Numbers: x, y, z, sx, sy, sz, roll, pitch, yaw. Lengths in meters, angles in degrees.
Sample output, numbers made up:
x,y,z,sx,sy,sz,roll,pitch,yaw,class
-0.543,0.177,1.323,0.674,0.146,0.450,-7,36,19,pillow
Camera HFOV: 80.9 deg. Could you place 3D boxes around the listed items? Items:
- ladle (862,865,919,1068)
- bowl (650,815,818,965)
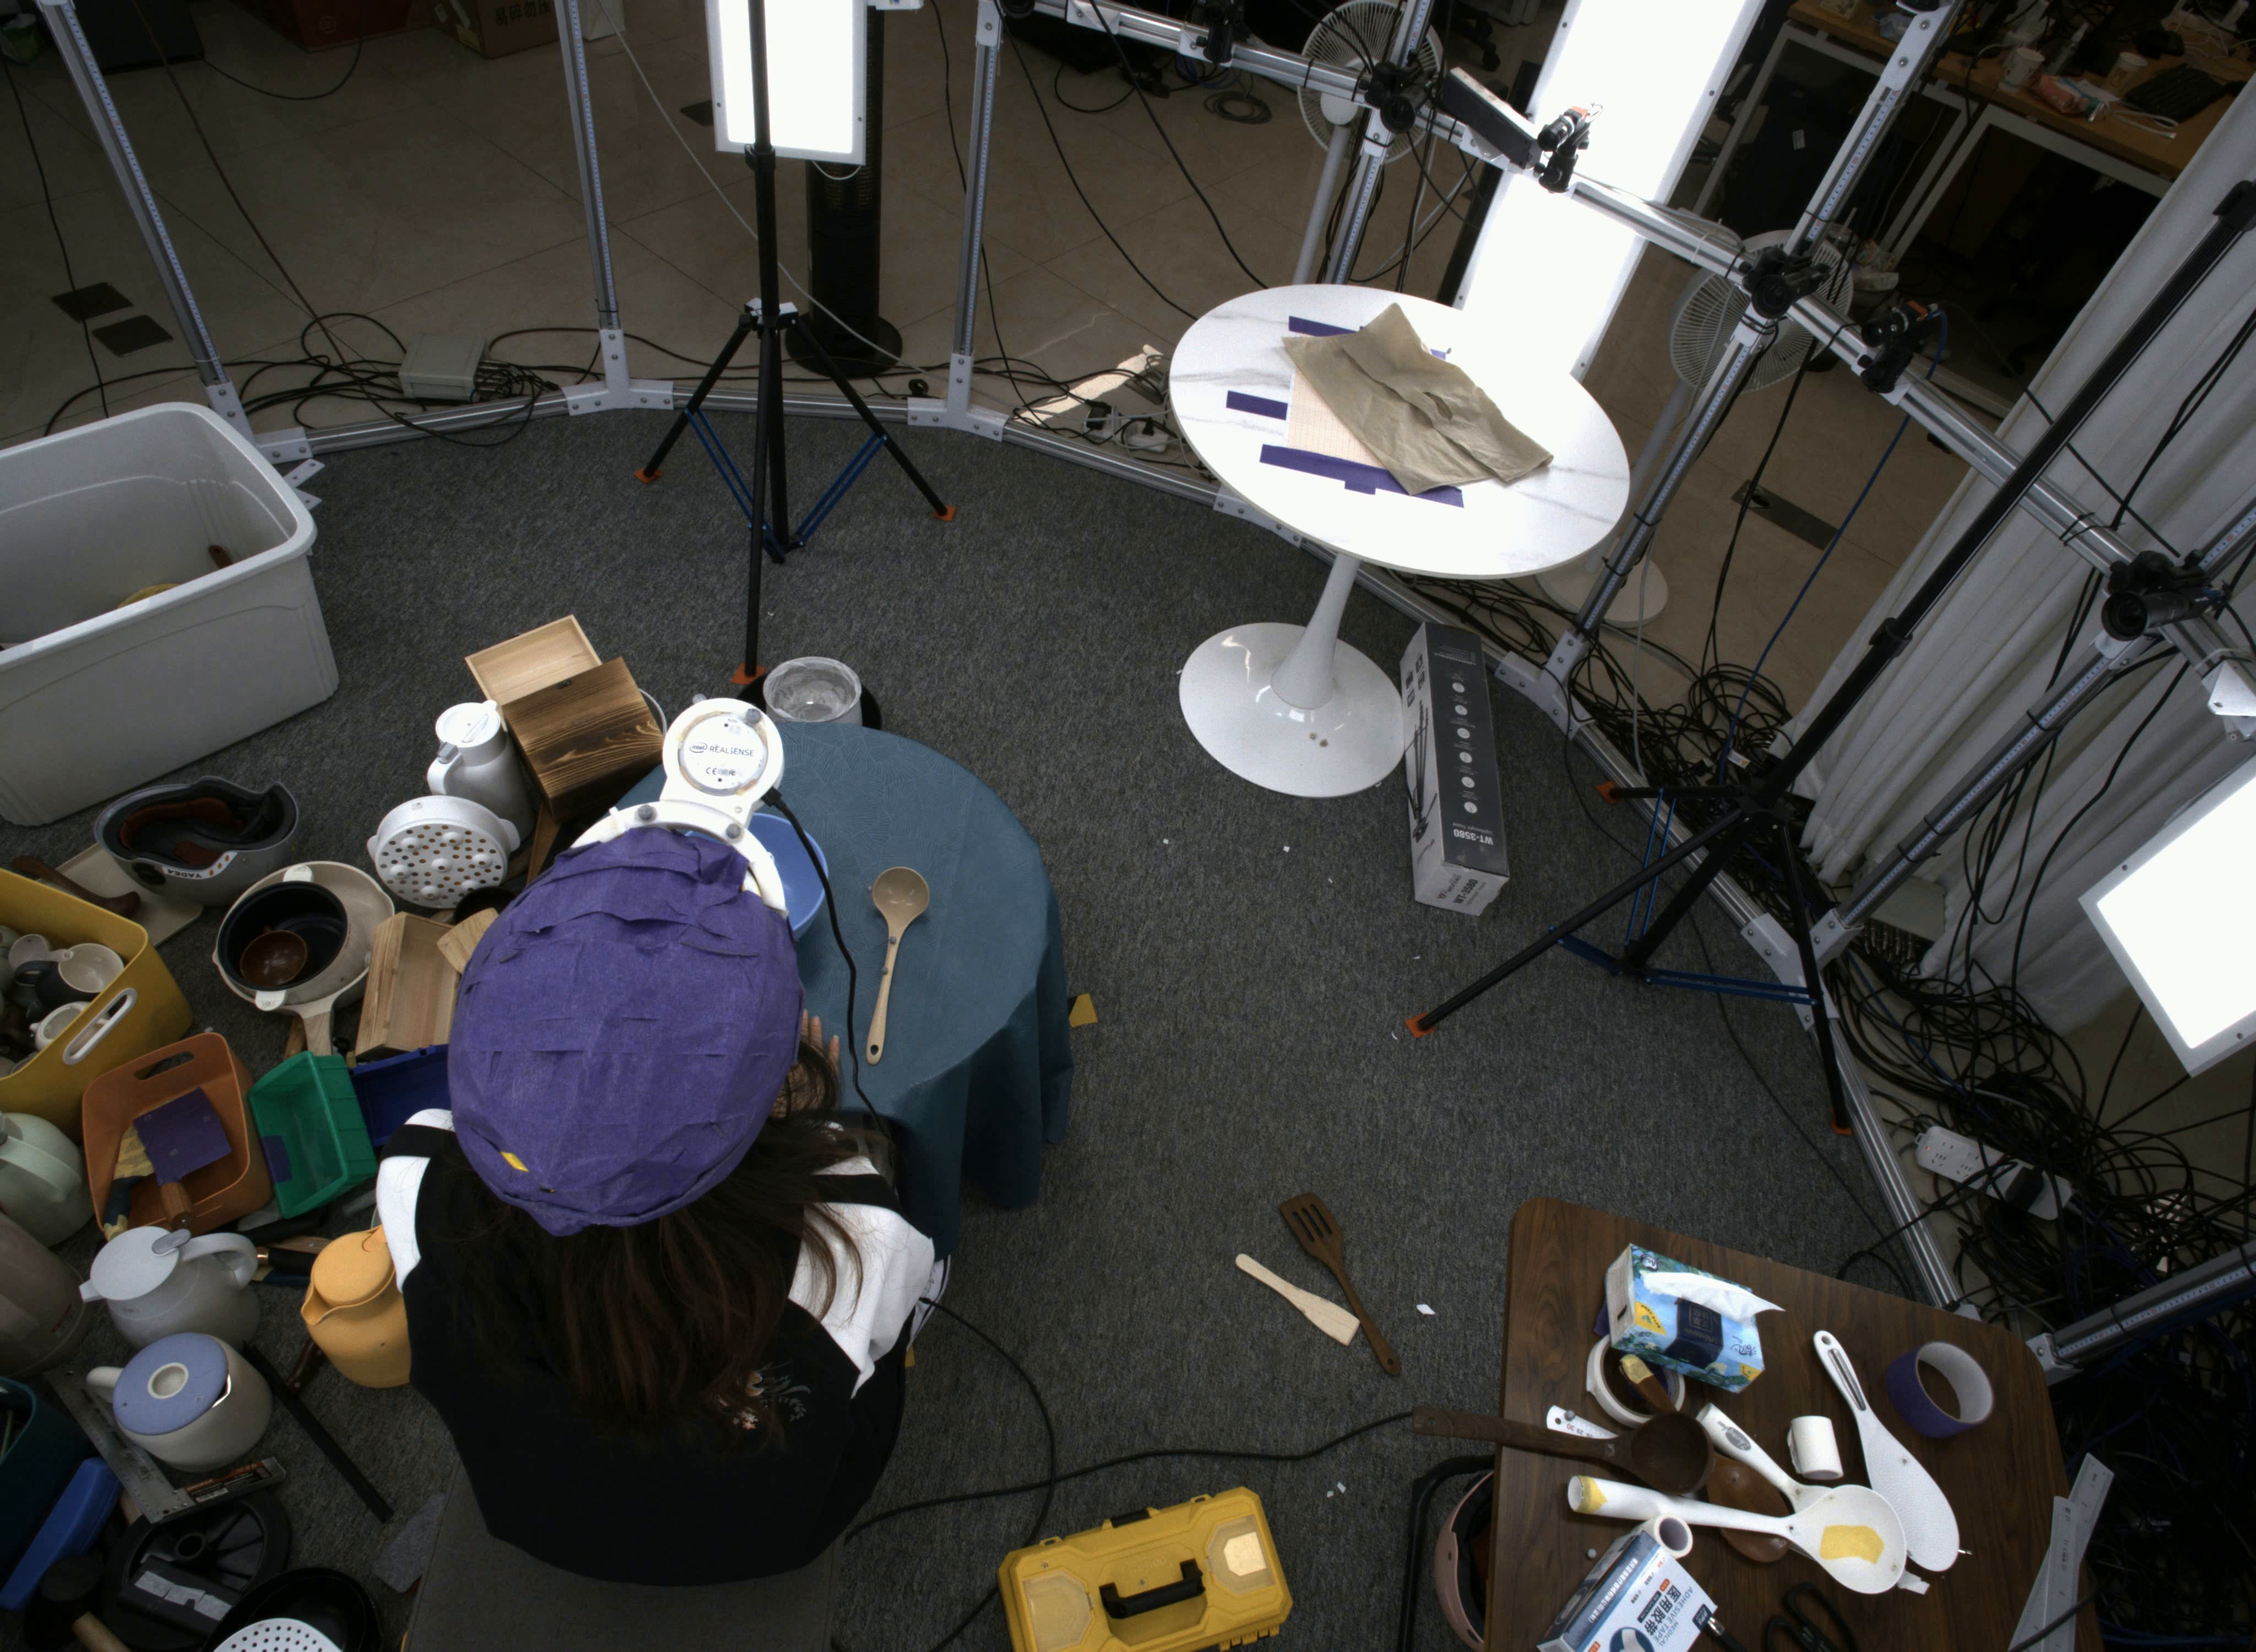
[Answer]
x,y,z,sx,sy,sz,roll,pitch,yaw,class
-0.299,0.161,1.584,0.072,0.074,0.250,5,53,-8,ladle
-0.478,0.091,1.580,0.196,0.097,0.193,9,53,-10,bowl
